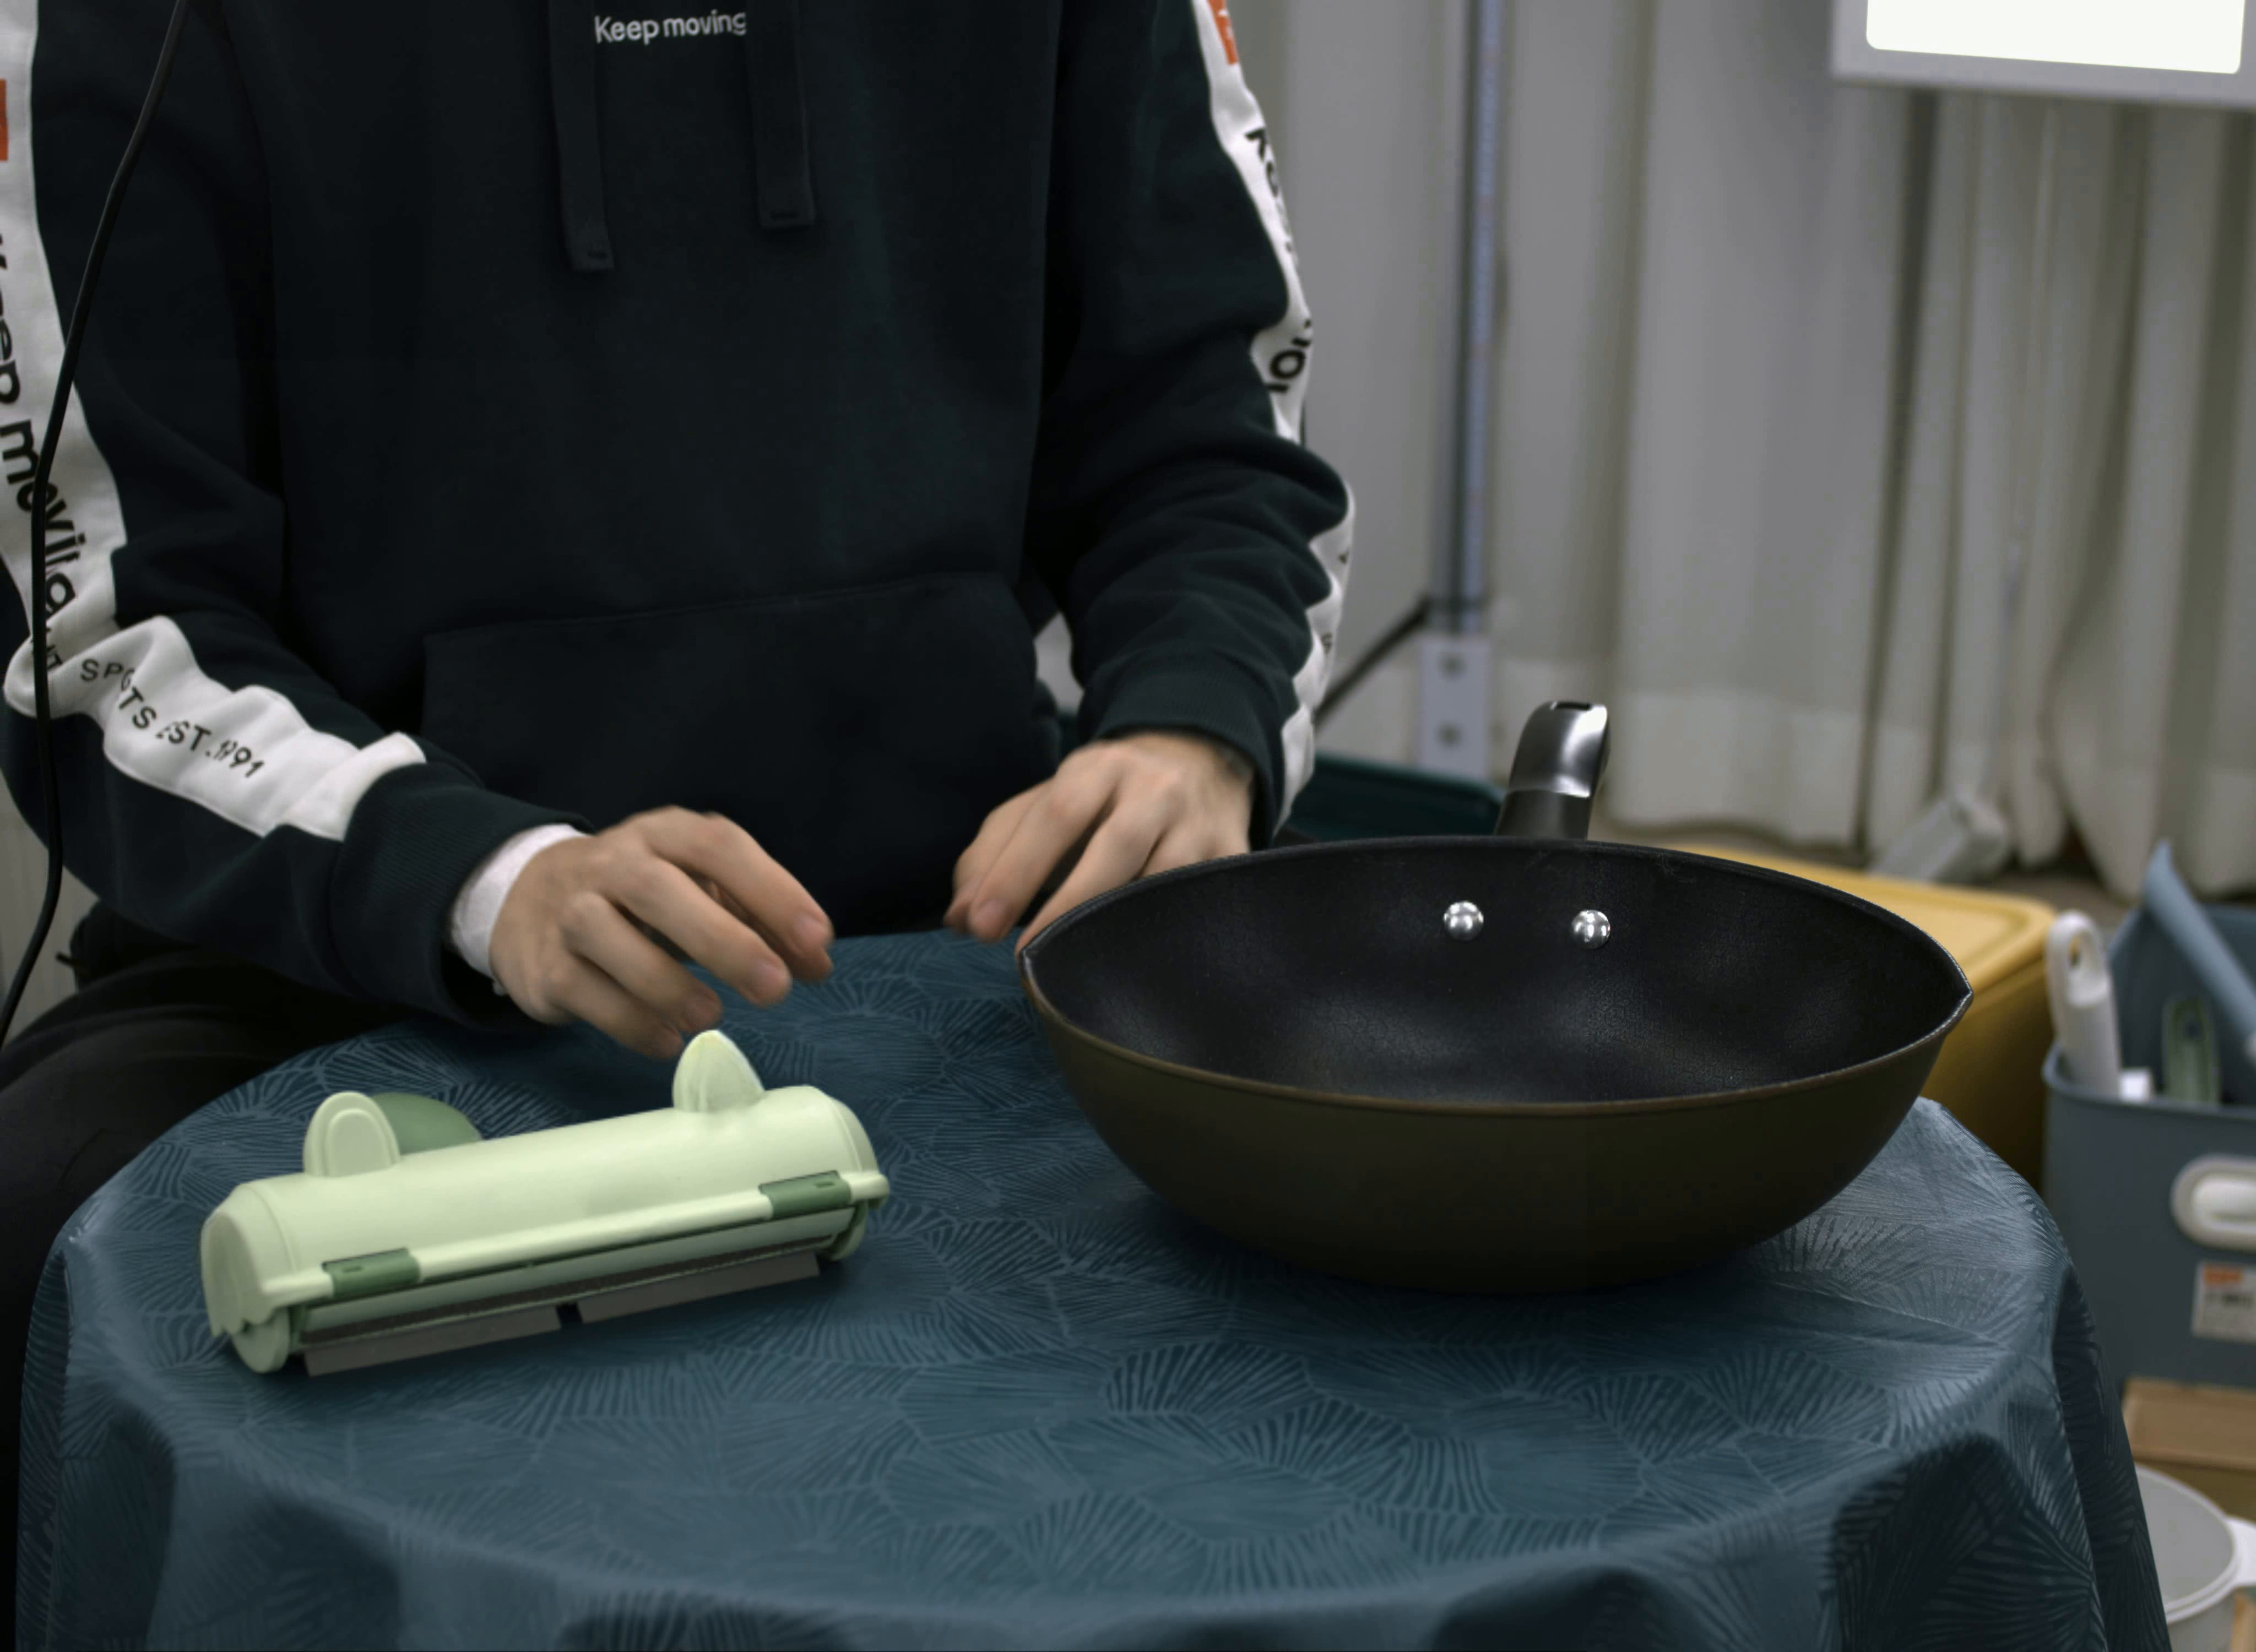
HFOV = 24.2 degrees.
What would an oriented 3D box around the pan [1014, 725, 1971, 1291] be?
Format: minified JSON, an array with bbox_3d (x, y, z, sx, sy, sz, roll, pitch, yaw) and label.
[{"bbox_3d":[0.121,0.055,1.676,0.286,0.087,0.462,3,15,7],"label":"pan"}]

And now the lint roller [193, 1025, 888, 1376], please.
[{"bbox_3d":[-0.195,0.090,1.551,0.199,0.083,0.181,-9,23,-29],"label":"lint roller"}]
